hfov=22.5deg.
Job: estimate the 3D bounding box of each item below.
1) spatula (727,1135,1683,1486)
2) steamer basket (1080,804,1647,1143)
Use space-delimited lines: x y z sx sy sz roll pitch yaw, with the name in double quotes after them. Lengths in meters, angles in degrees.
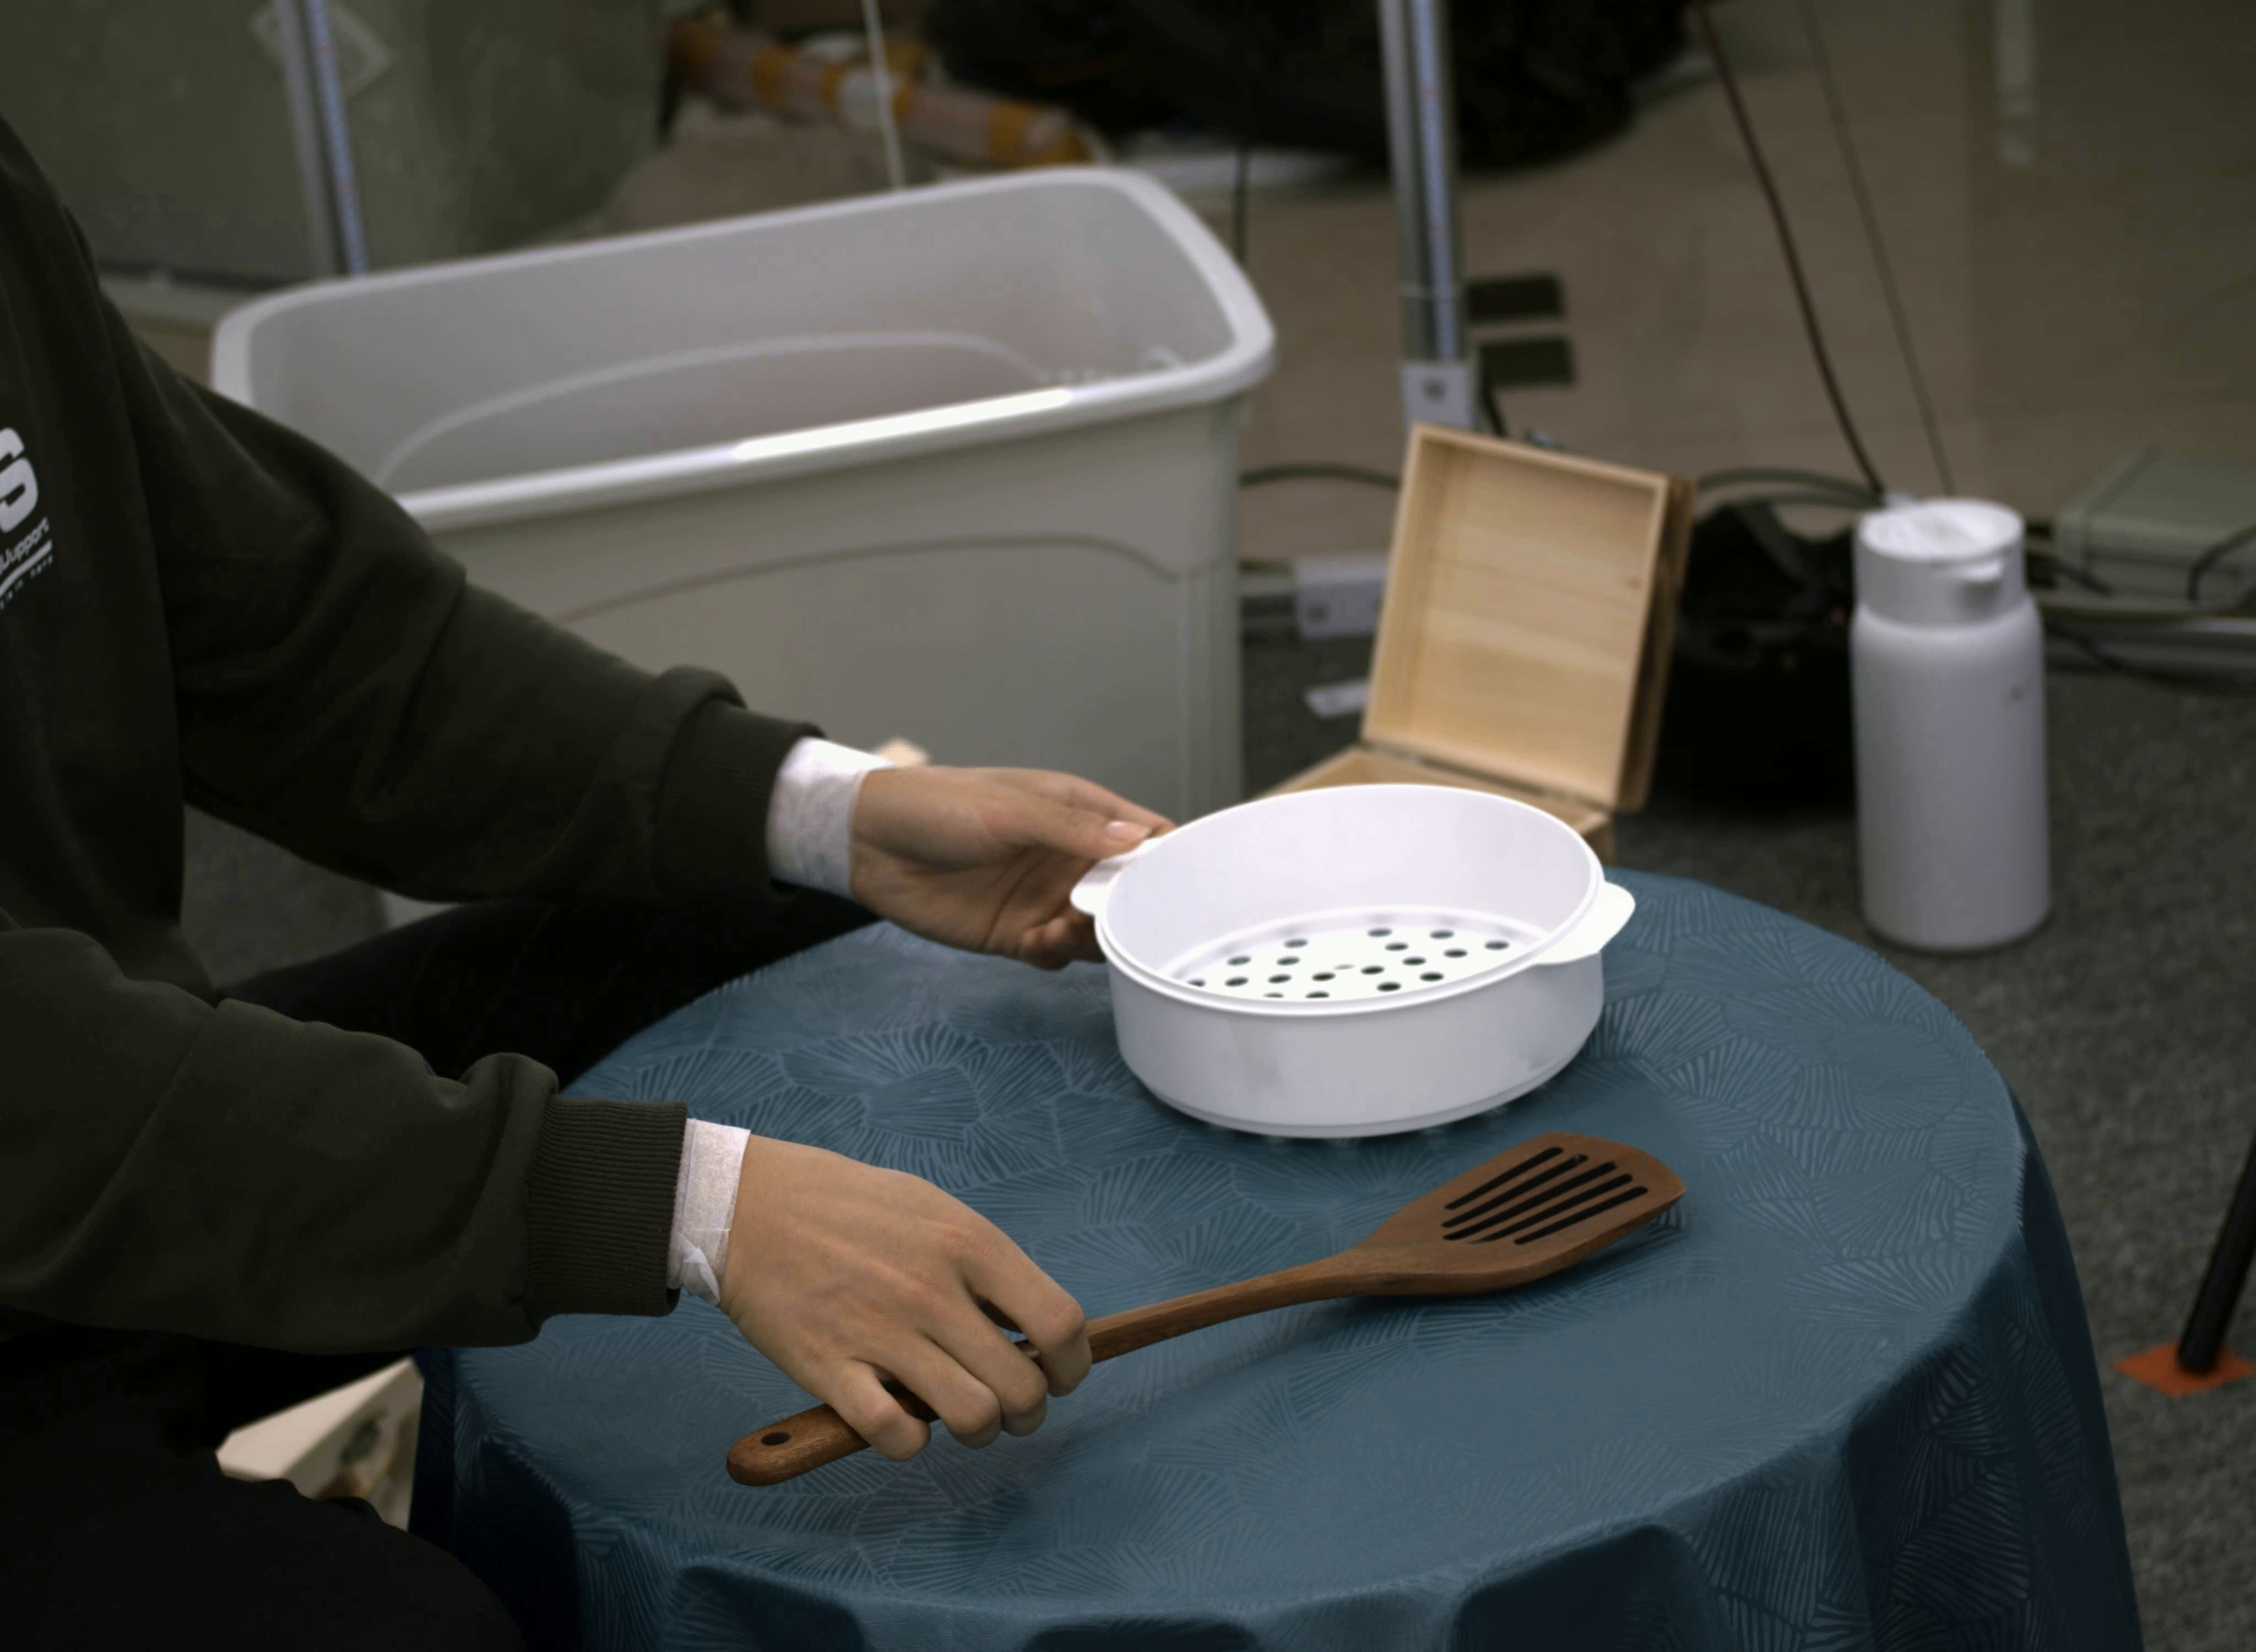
0.028 0.175 2.016 0.383 0.024 0.085 -15 22 -30 "spatula"
0.094 0.058 2.229 0.230 0.070 0.199 3 24 27 "steamer basket"
